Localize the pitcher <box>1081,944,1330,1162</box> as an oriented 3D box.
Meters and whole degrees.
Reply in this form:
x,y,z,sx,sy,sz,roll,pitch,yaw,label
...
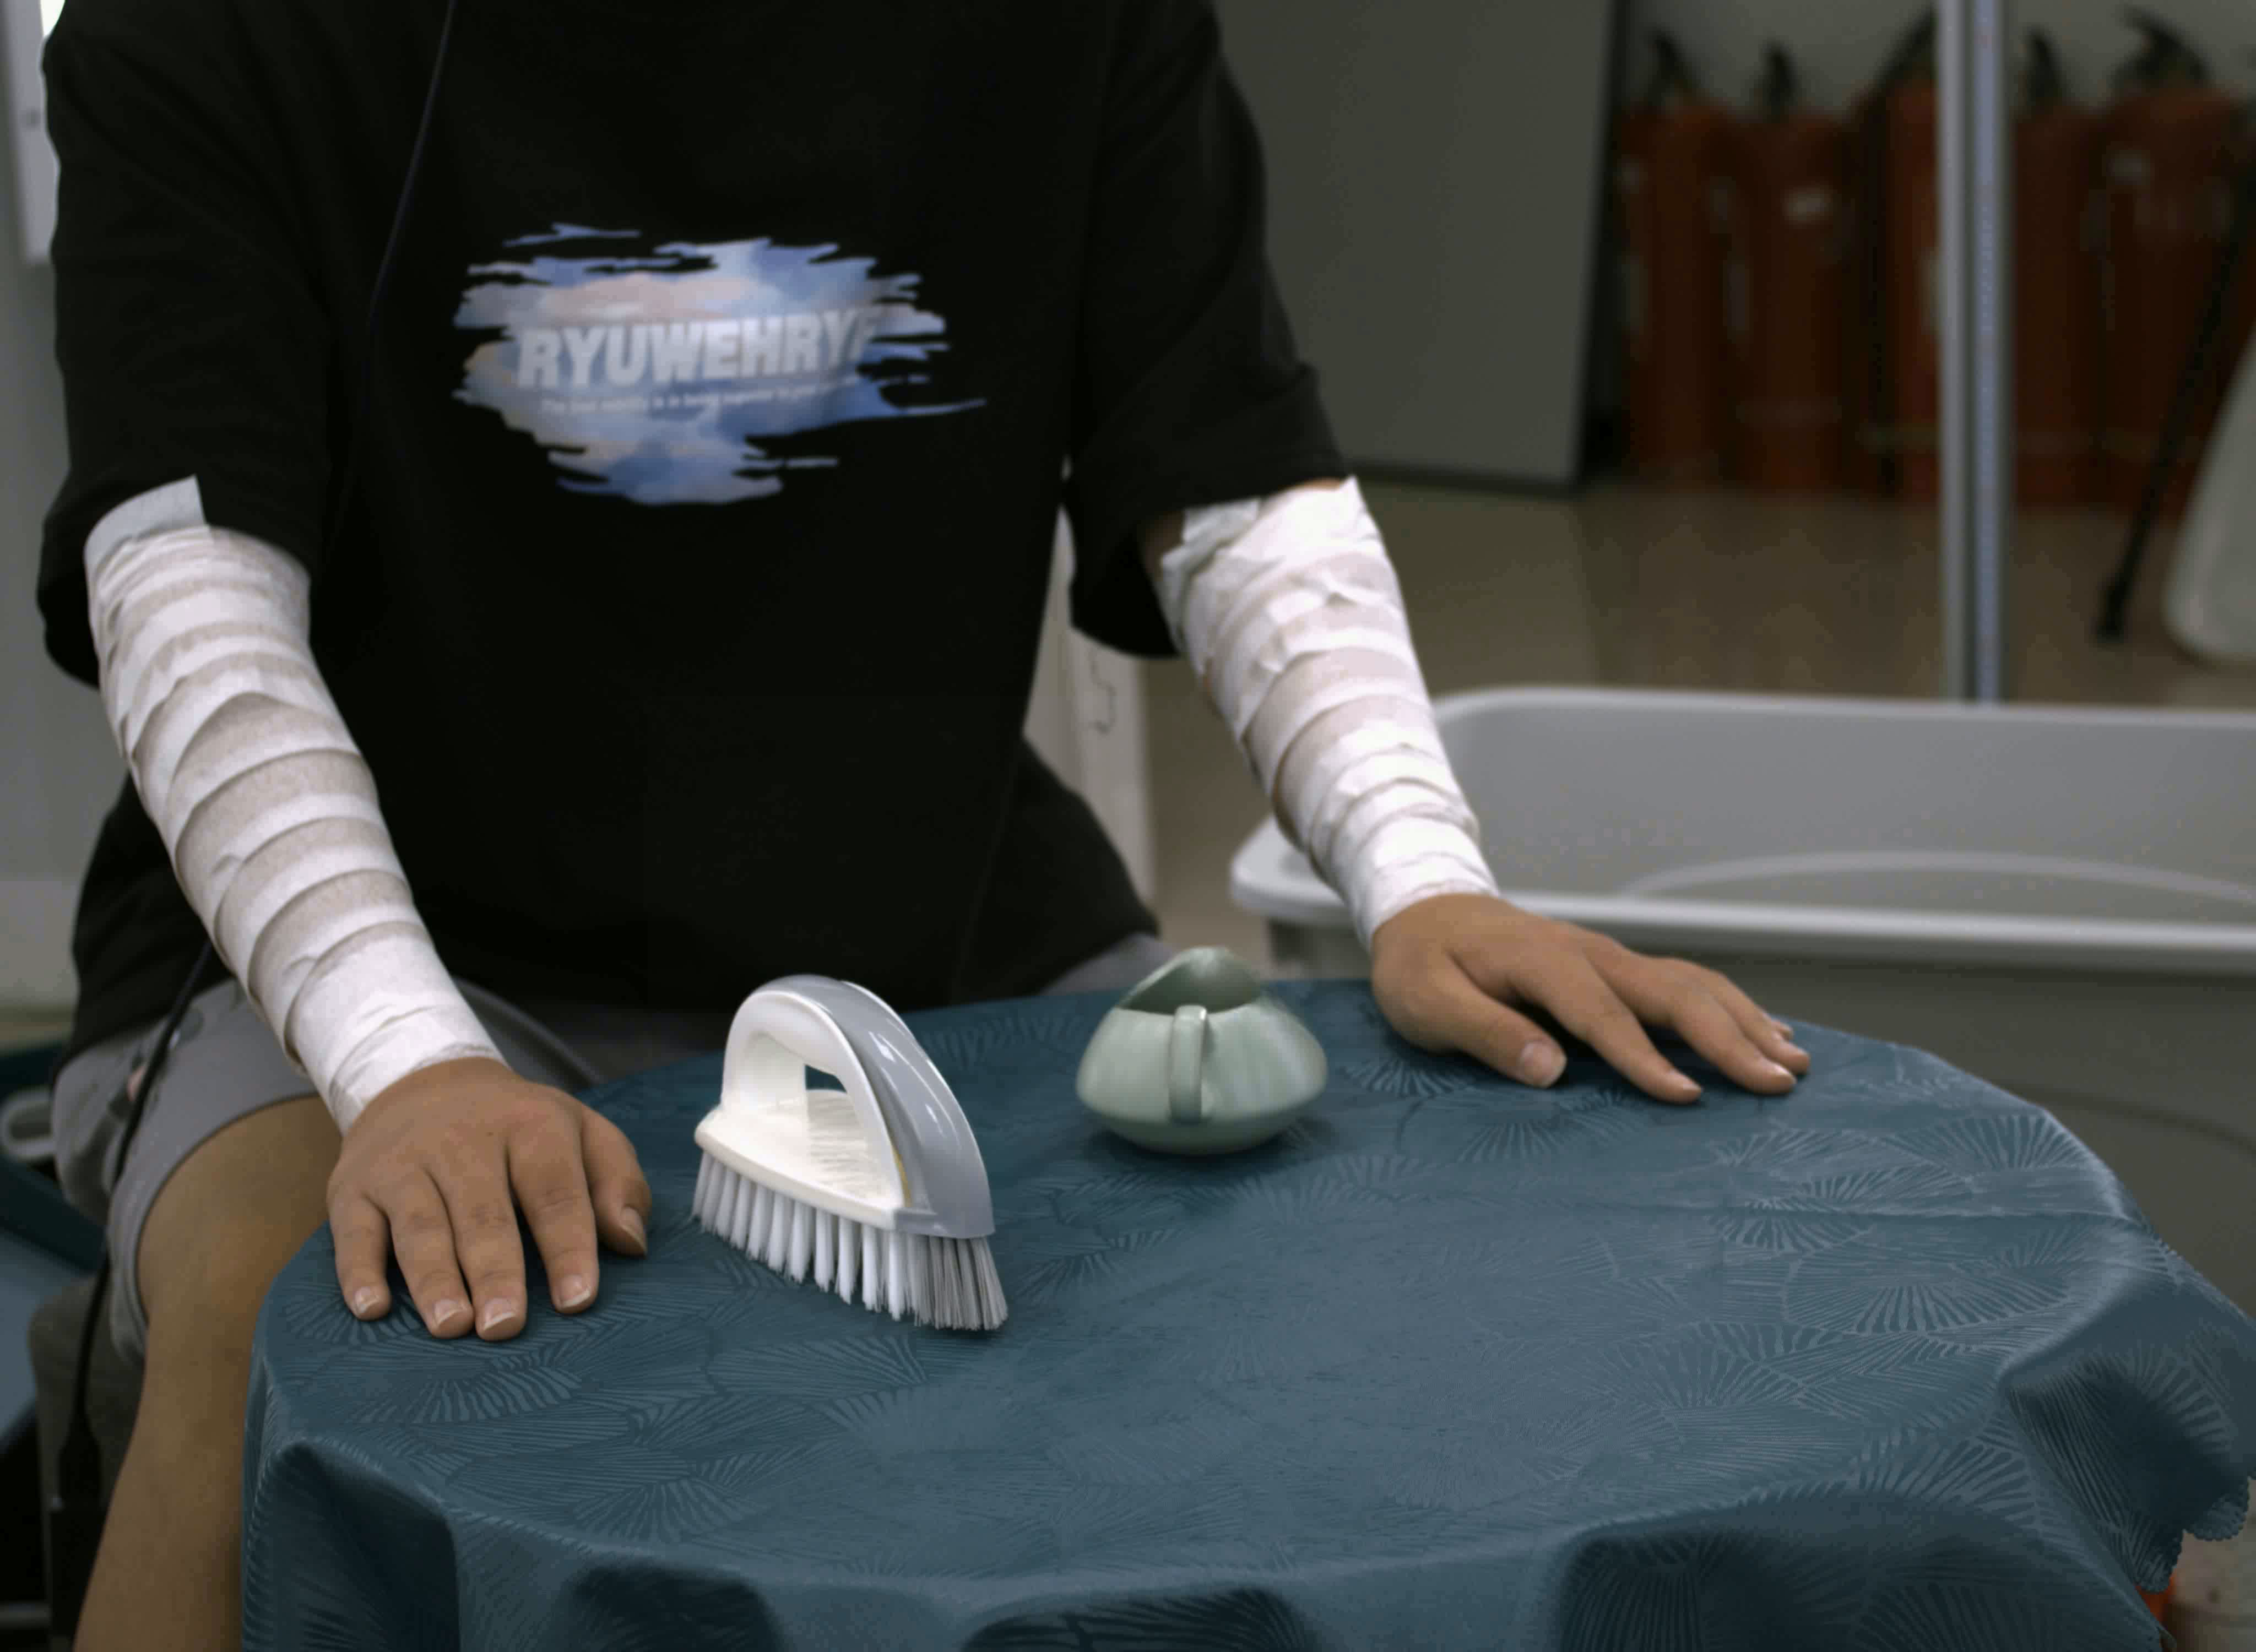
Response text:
x,y,z,sx,sy,sz,roll,pitch,yaw,label
0.025,0.082,1.811,0.085,0.061,0.108,-4,15,4,pitcher

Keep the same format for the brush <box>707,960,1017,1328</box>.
x,y,z,sx,sy,sz,roll,pitch,yaw,label
-0.081,0.096,1.706,0.060,0.095,0.177,-14,18,-24,brush
